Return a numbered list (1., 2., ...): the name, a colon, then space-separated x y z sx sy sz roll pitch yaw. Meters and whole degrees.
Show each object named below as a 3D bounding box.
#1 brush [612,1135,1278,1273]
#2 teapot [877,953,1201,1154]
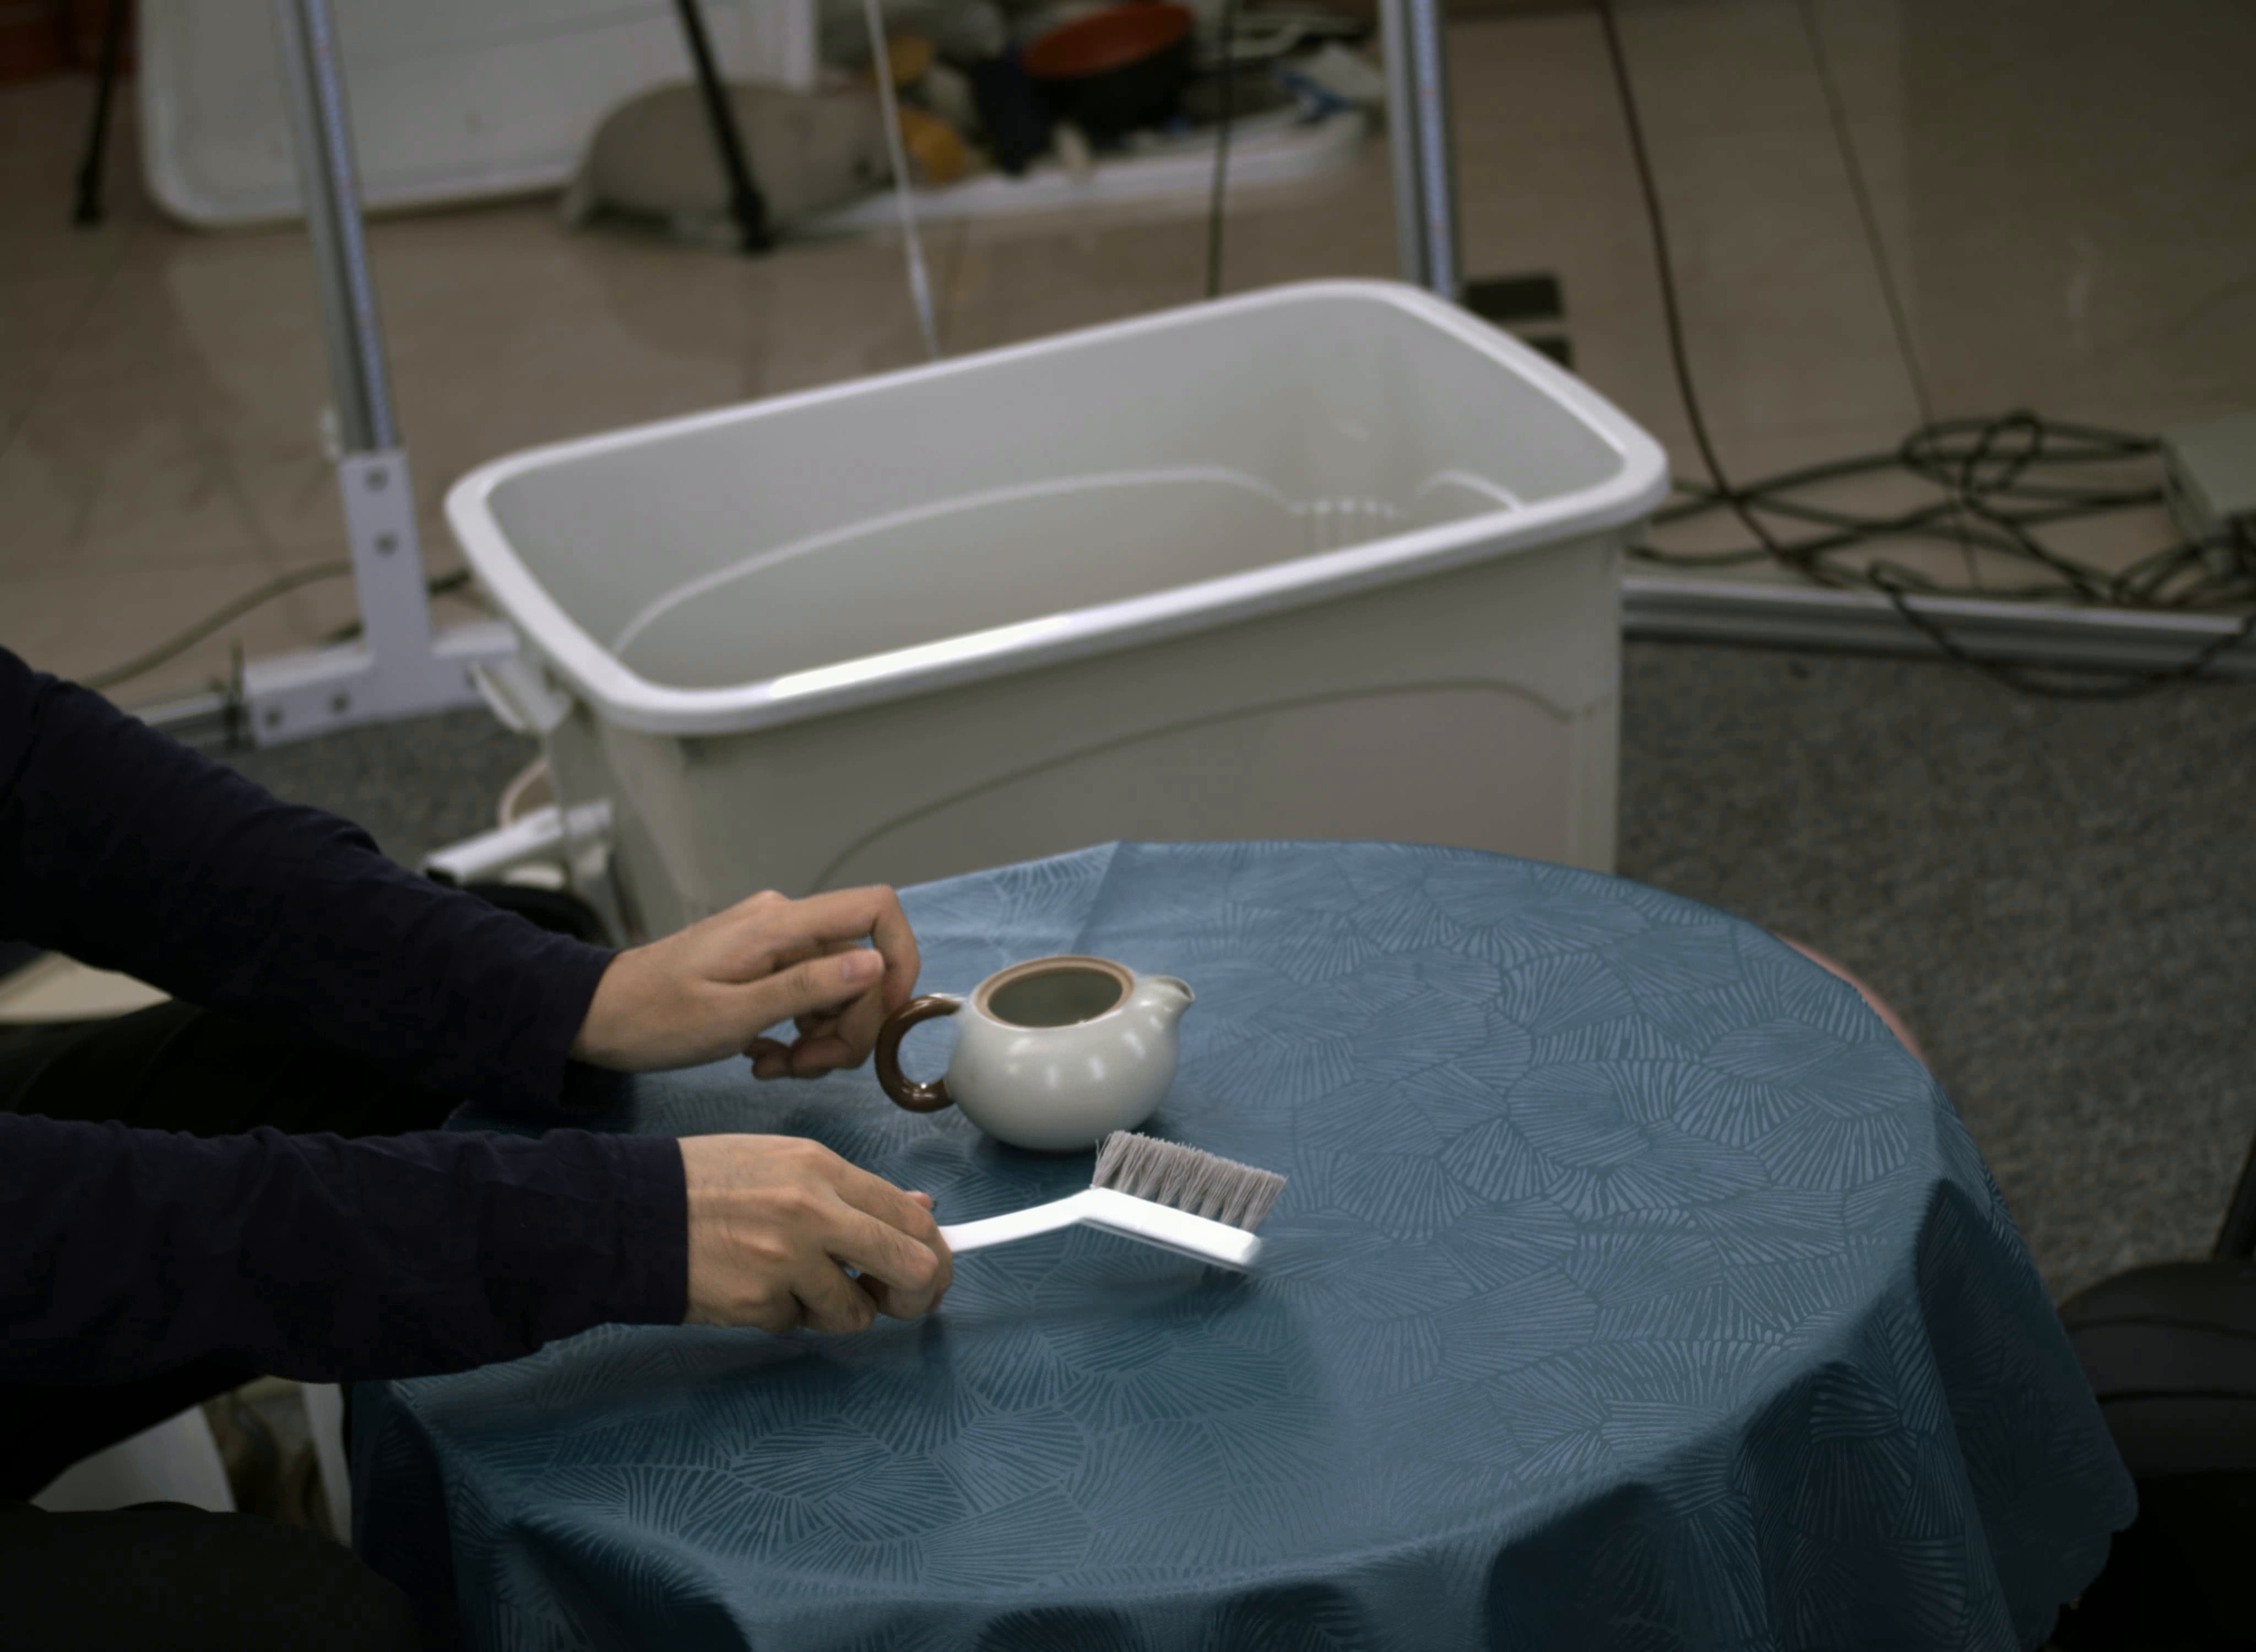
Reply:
1. brush: -0.067 0.138 2.069 0.243 0.050 0.034 0 -4 1
2. teapot: -0.034 0.089 2.196 0.128 0.060 0.090 -3 29 5
